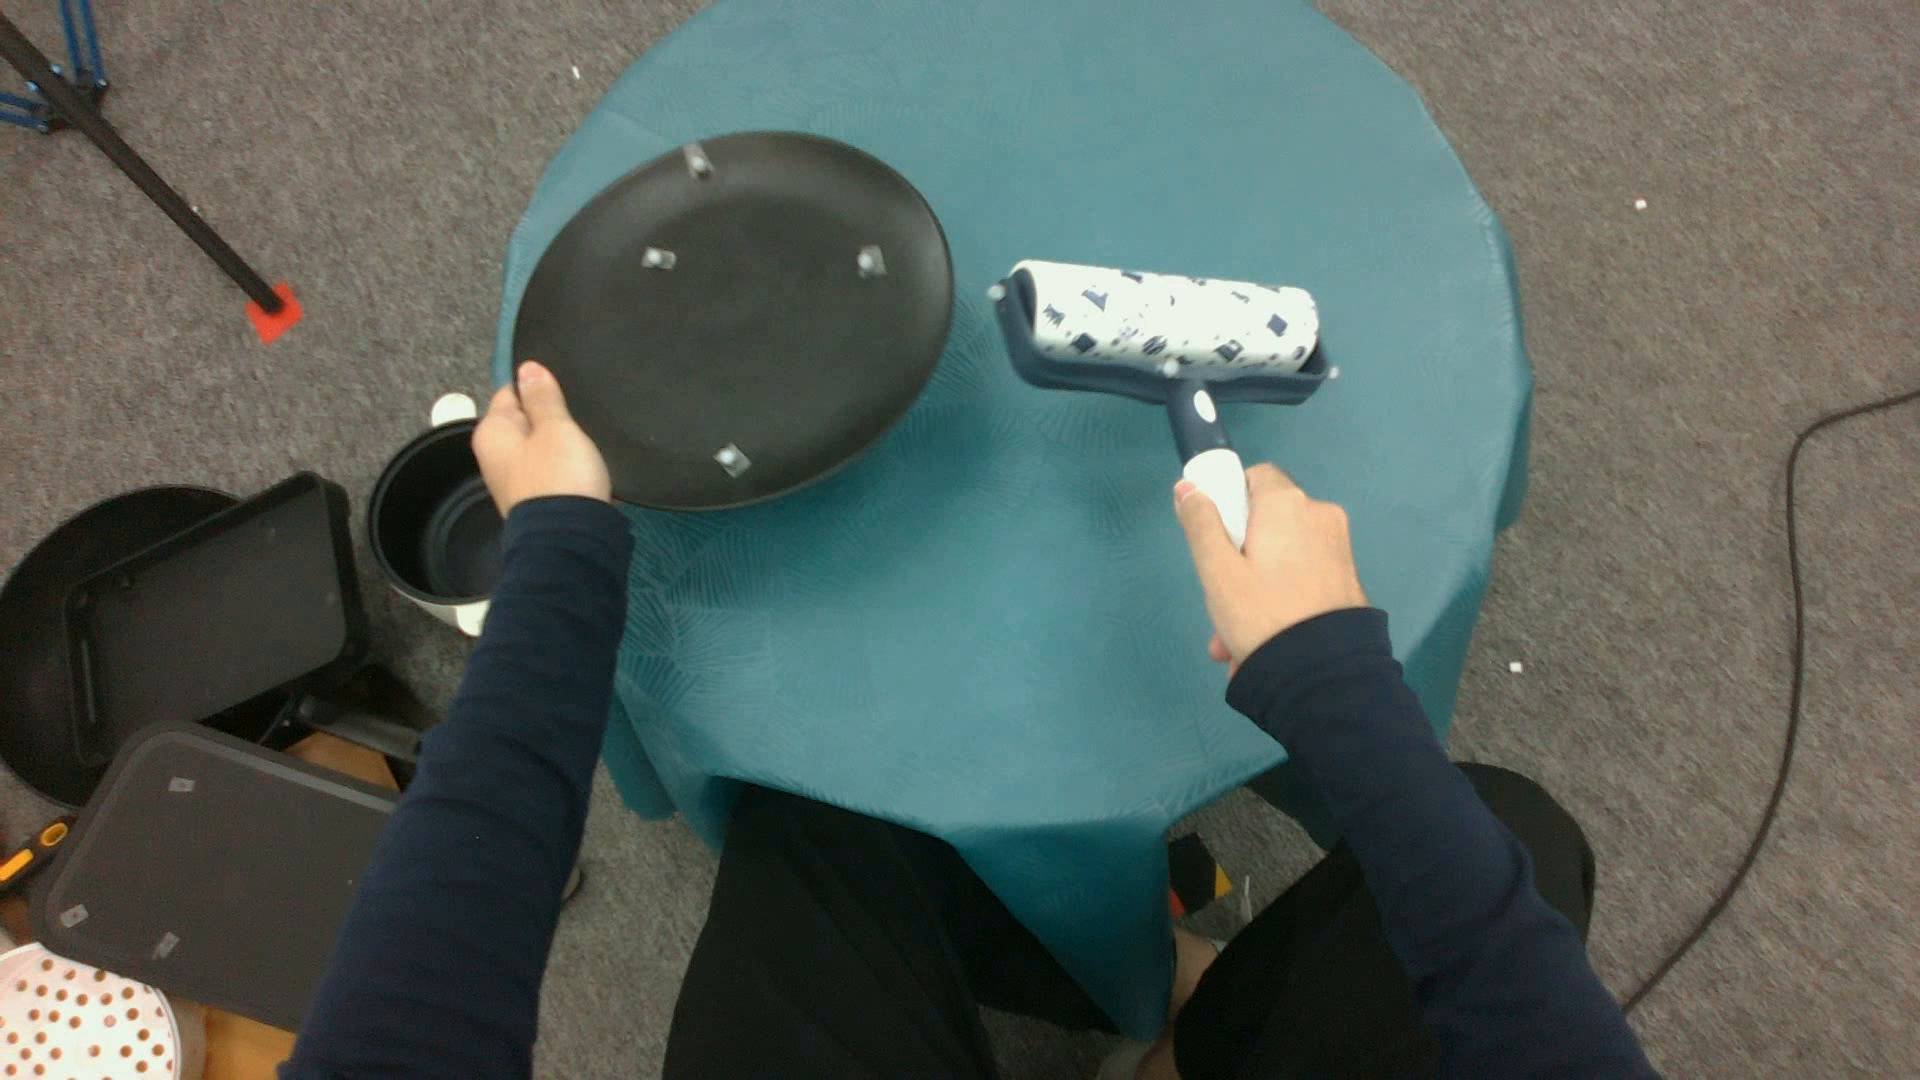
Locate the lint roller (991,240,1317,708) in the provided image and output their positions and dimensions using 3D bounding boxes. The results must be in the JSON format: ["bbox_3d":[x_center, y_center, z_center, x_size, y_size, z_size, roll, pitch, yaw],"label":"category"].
[{"bbox_3d":[0.118,-0.038,0.669,0.176,0.050,0.248,2,58,-22],"label":"lint roller"}]

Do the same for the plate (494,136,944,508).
[{"bbox_3d":[-0.128,-0.120,0.742,0.244,0.023,0.245,-3,62,5],"label":"plate"}]
